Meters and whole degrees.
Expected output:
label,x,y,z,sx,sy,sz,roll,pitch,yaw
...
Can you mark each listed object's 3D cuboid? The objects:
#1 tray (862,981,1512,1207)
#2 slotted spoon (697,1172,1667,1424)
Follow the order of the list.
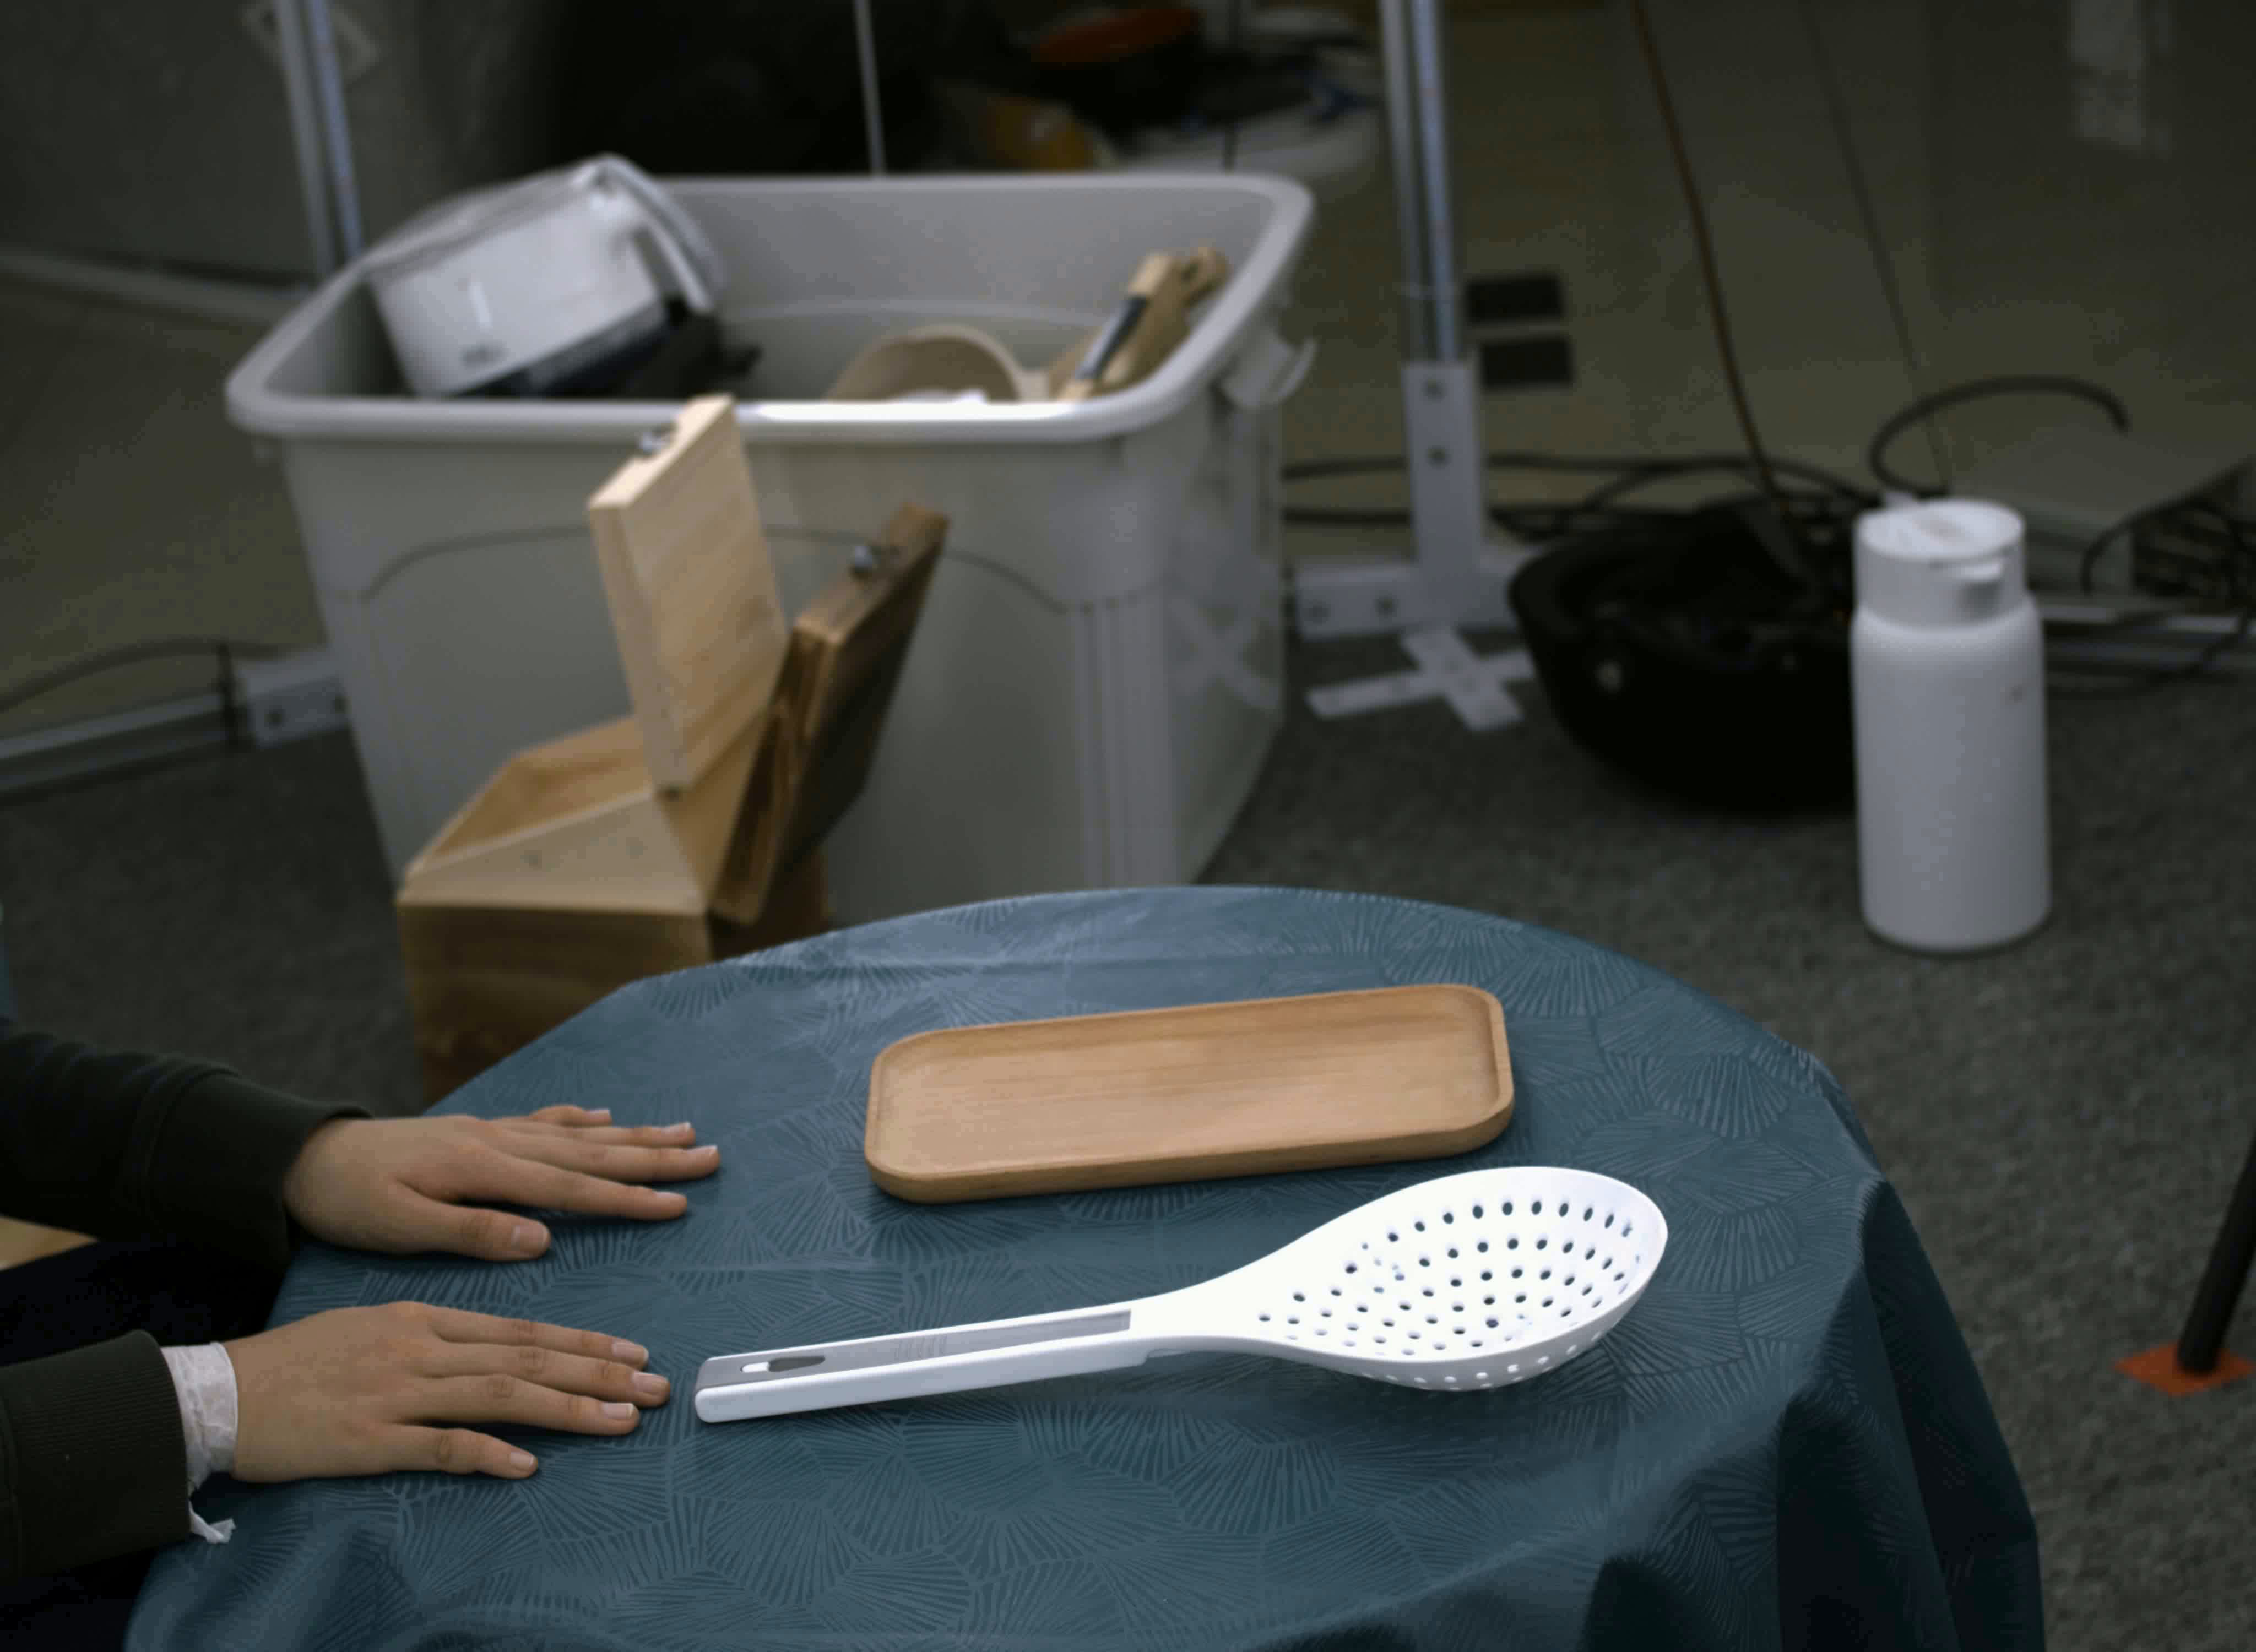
label,x,y,z,sx,sy,sz,roll,pitch,yaw
tray,0.023,0.104,2.202,0.250,0.023,0.129,-6,23,3
slotted spoon,0.018,0.177,2.012,0.349,0.046,0.134,-5,23,6
